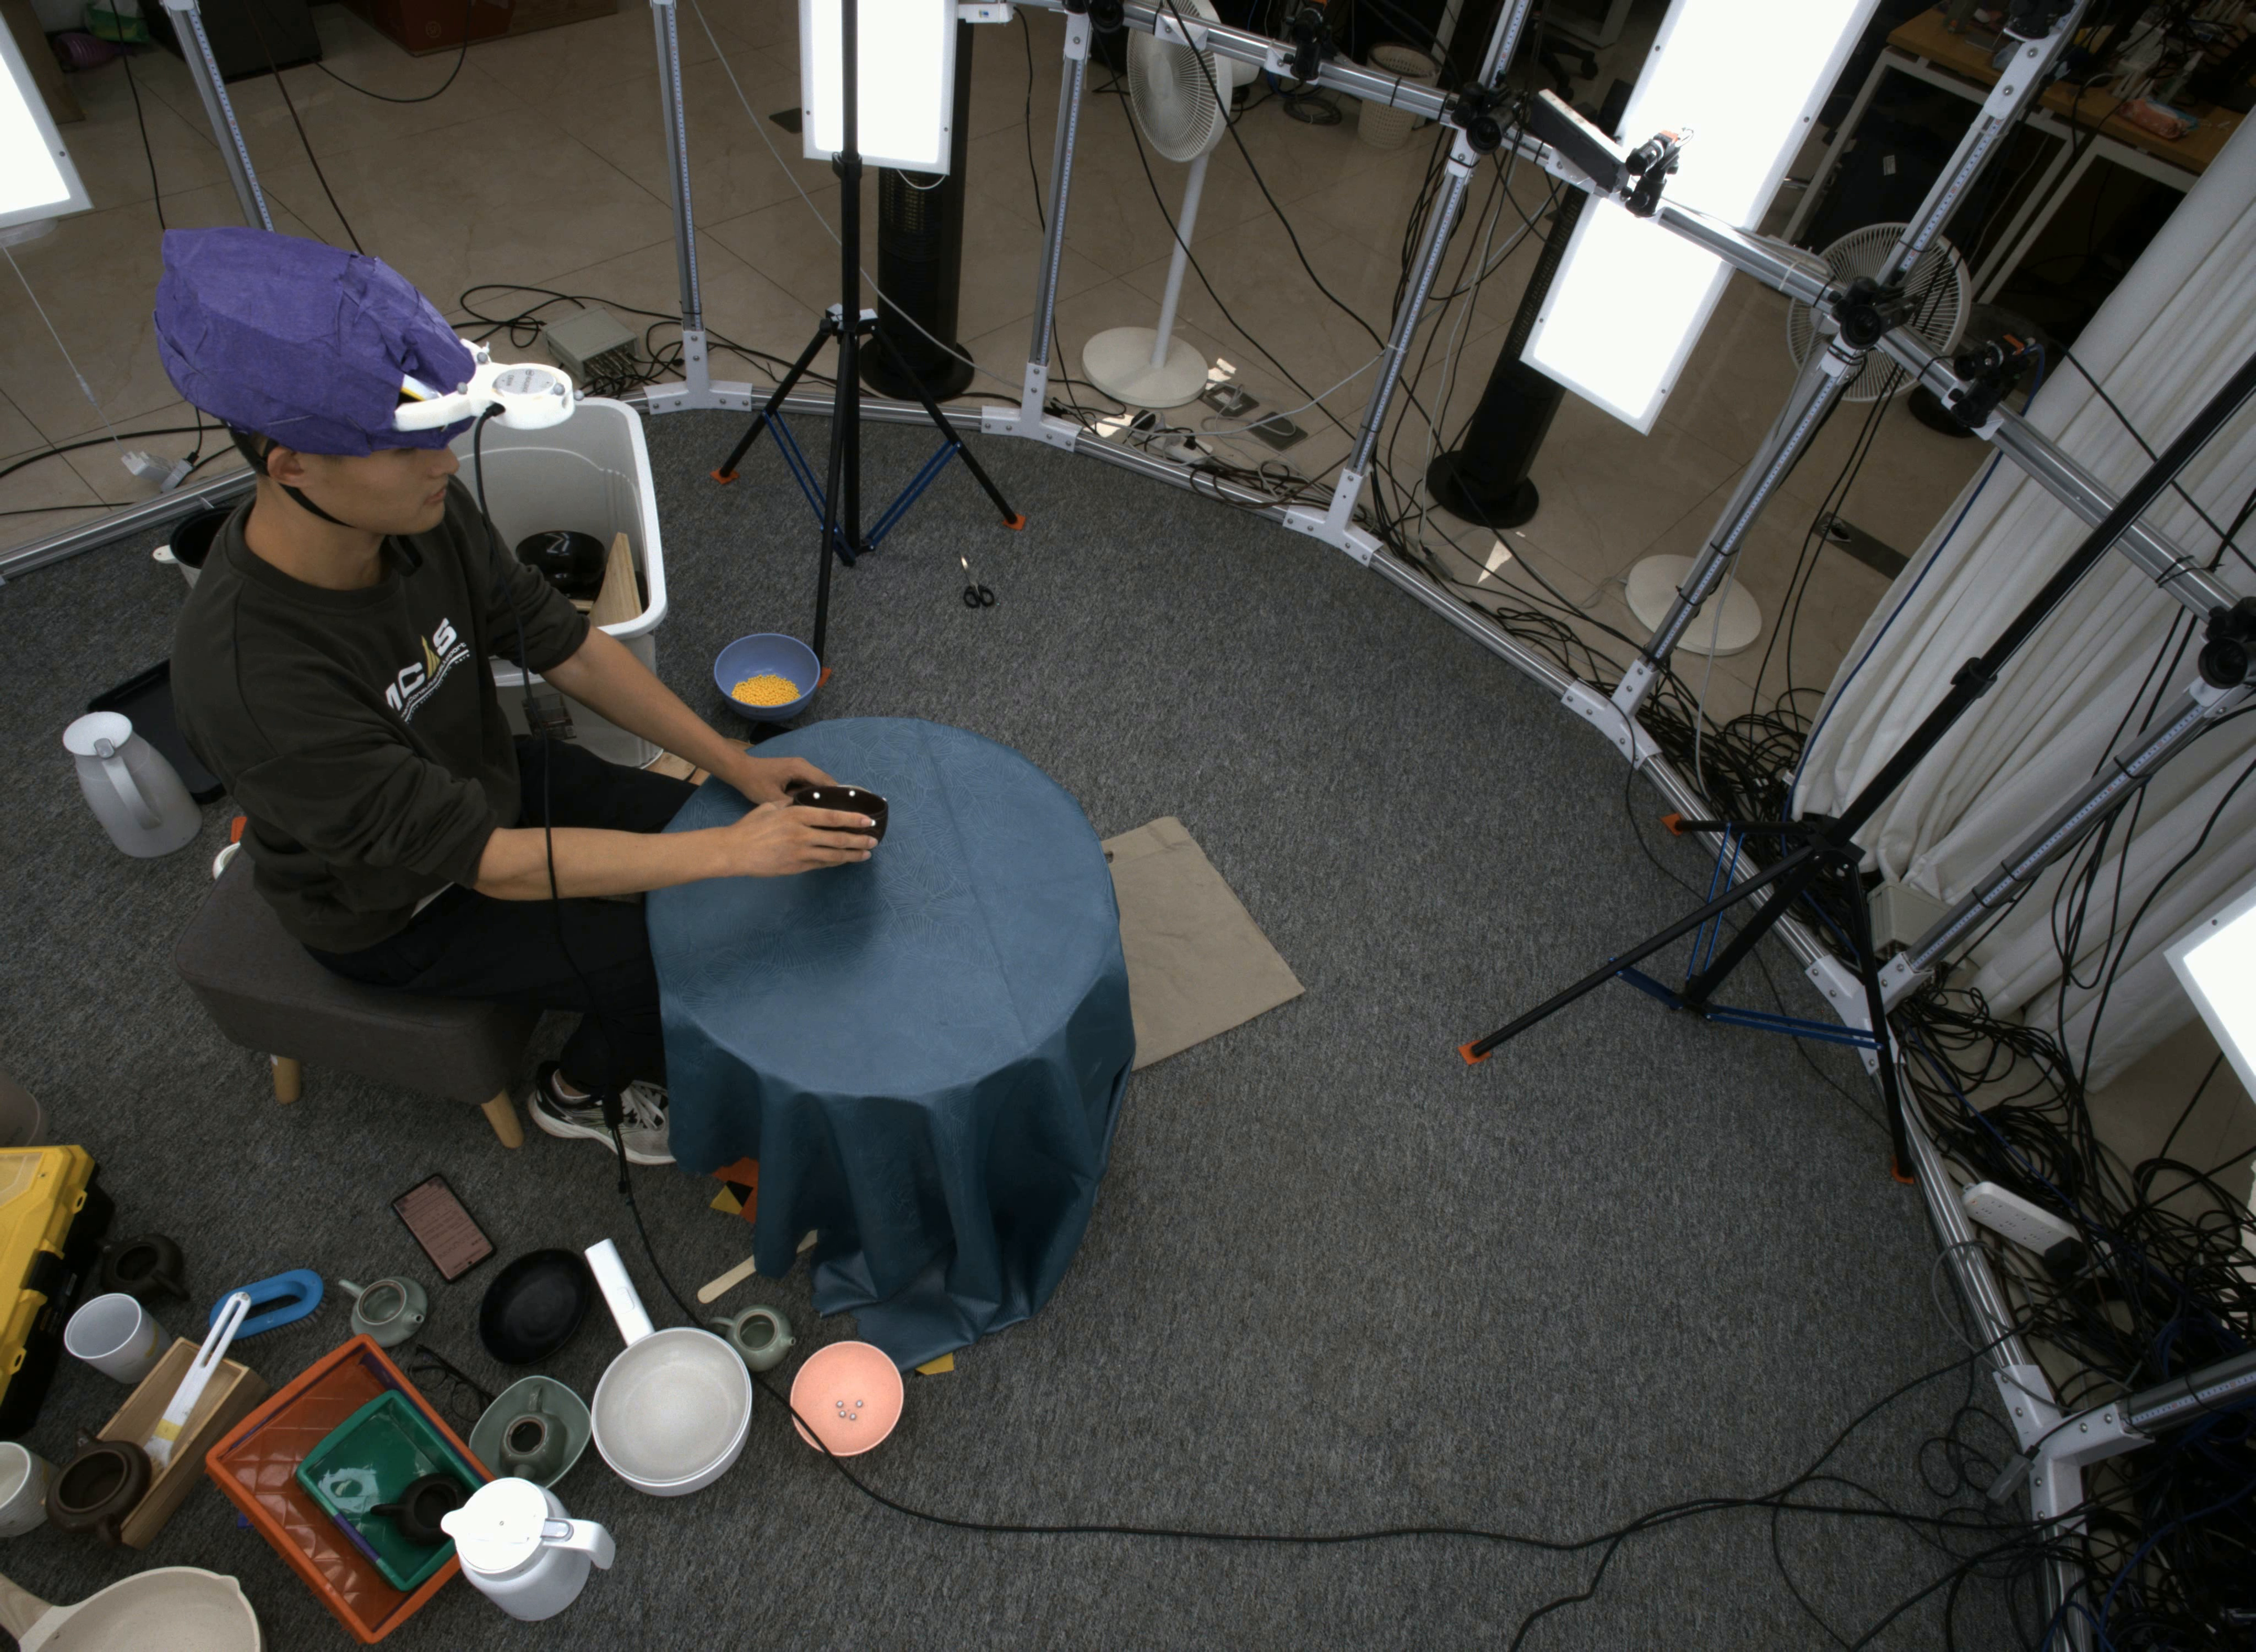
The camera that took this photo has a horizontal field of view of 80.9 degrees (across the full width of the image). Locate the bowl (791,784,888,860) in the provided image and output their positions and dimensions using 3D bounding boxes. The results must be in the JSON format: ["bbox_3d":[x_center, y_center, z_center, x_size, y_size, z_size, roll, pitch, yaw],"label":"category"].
[{"bbox_3d":[-0.358,-0.001,1.606,0.117,0.071,0.116,8,19,-1],"label":"bowl"}]

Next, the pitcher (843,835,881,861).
[{"bbox_3d":[-0.364,0.007,1.697,0.083,0.073,0.095,17,52,0],"label":"pitcher"}]
